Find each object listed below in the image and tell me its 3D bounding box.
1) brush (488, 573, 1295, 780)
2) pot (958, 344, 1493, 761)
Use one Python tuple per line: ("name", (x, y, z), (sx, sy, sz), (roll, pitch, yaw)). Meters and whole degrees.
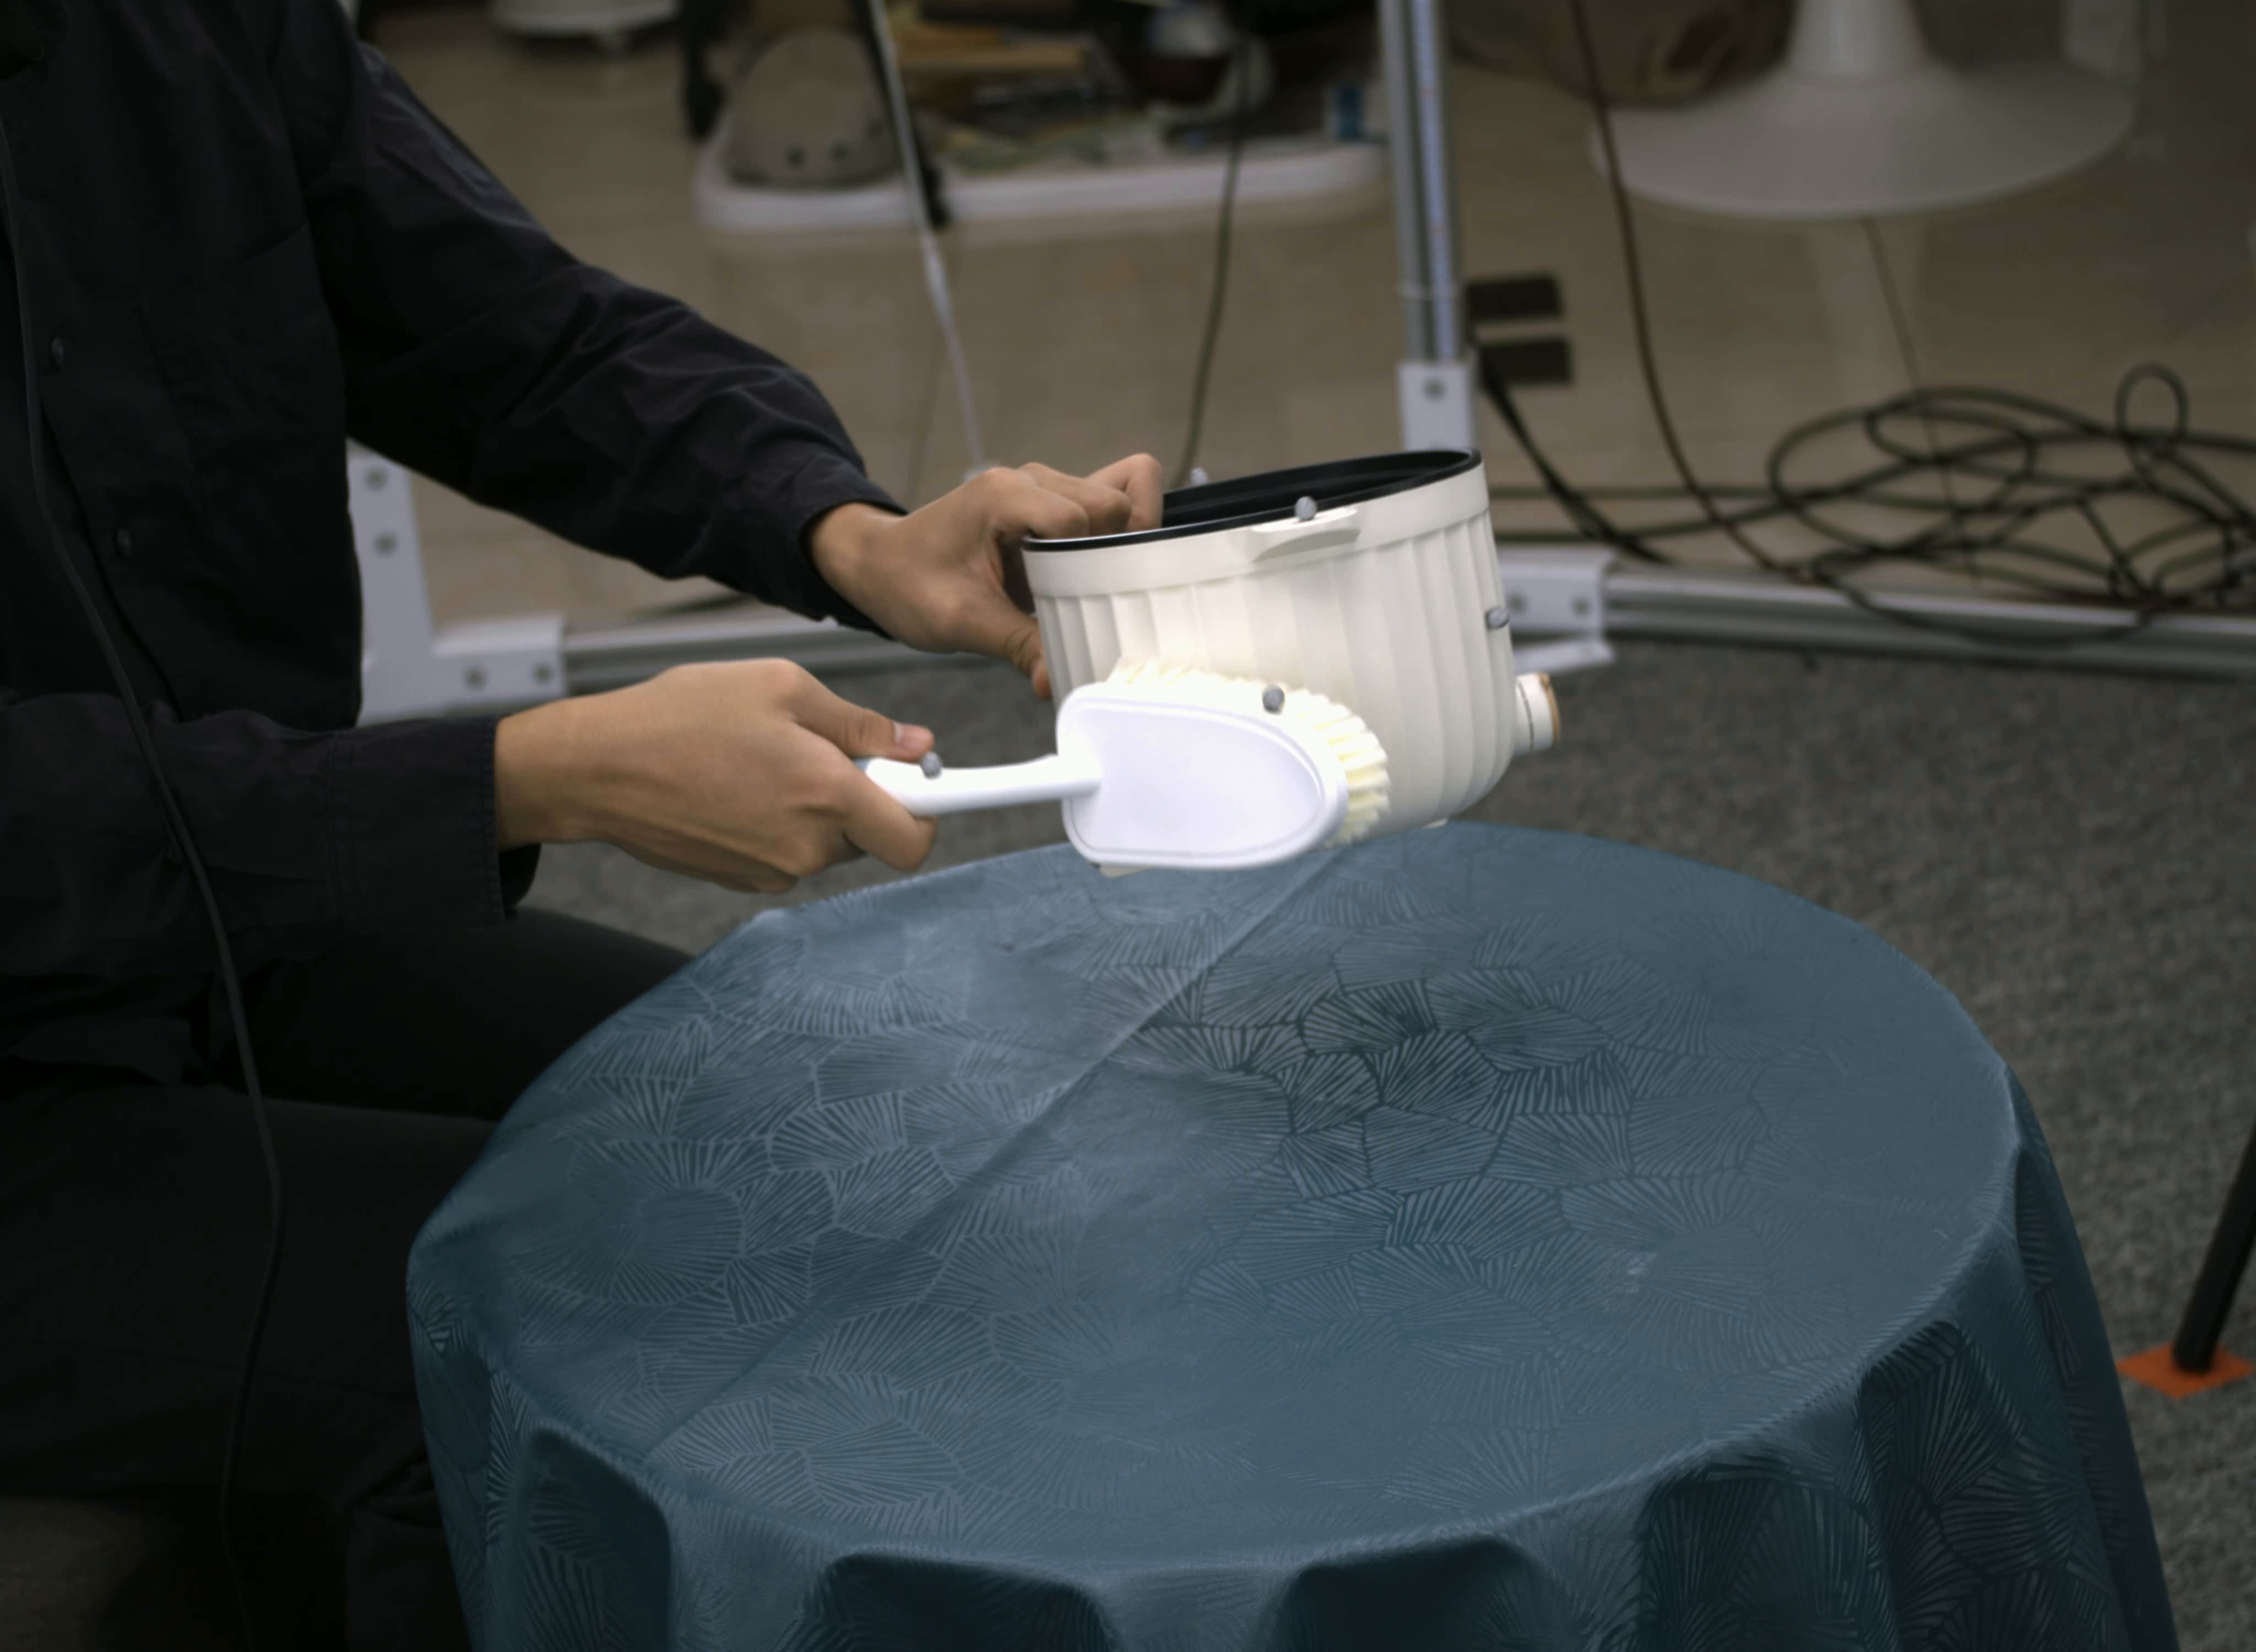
("brush", (-0.087, -0.059, 2.139), (0.324, 0.085, 0.082), (1, 69, 22))
("pot", (0.040, -0.107, 2.221), (0.190, 0.144, 0.239), (-15, 11, -9))
